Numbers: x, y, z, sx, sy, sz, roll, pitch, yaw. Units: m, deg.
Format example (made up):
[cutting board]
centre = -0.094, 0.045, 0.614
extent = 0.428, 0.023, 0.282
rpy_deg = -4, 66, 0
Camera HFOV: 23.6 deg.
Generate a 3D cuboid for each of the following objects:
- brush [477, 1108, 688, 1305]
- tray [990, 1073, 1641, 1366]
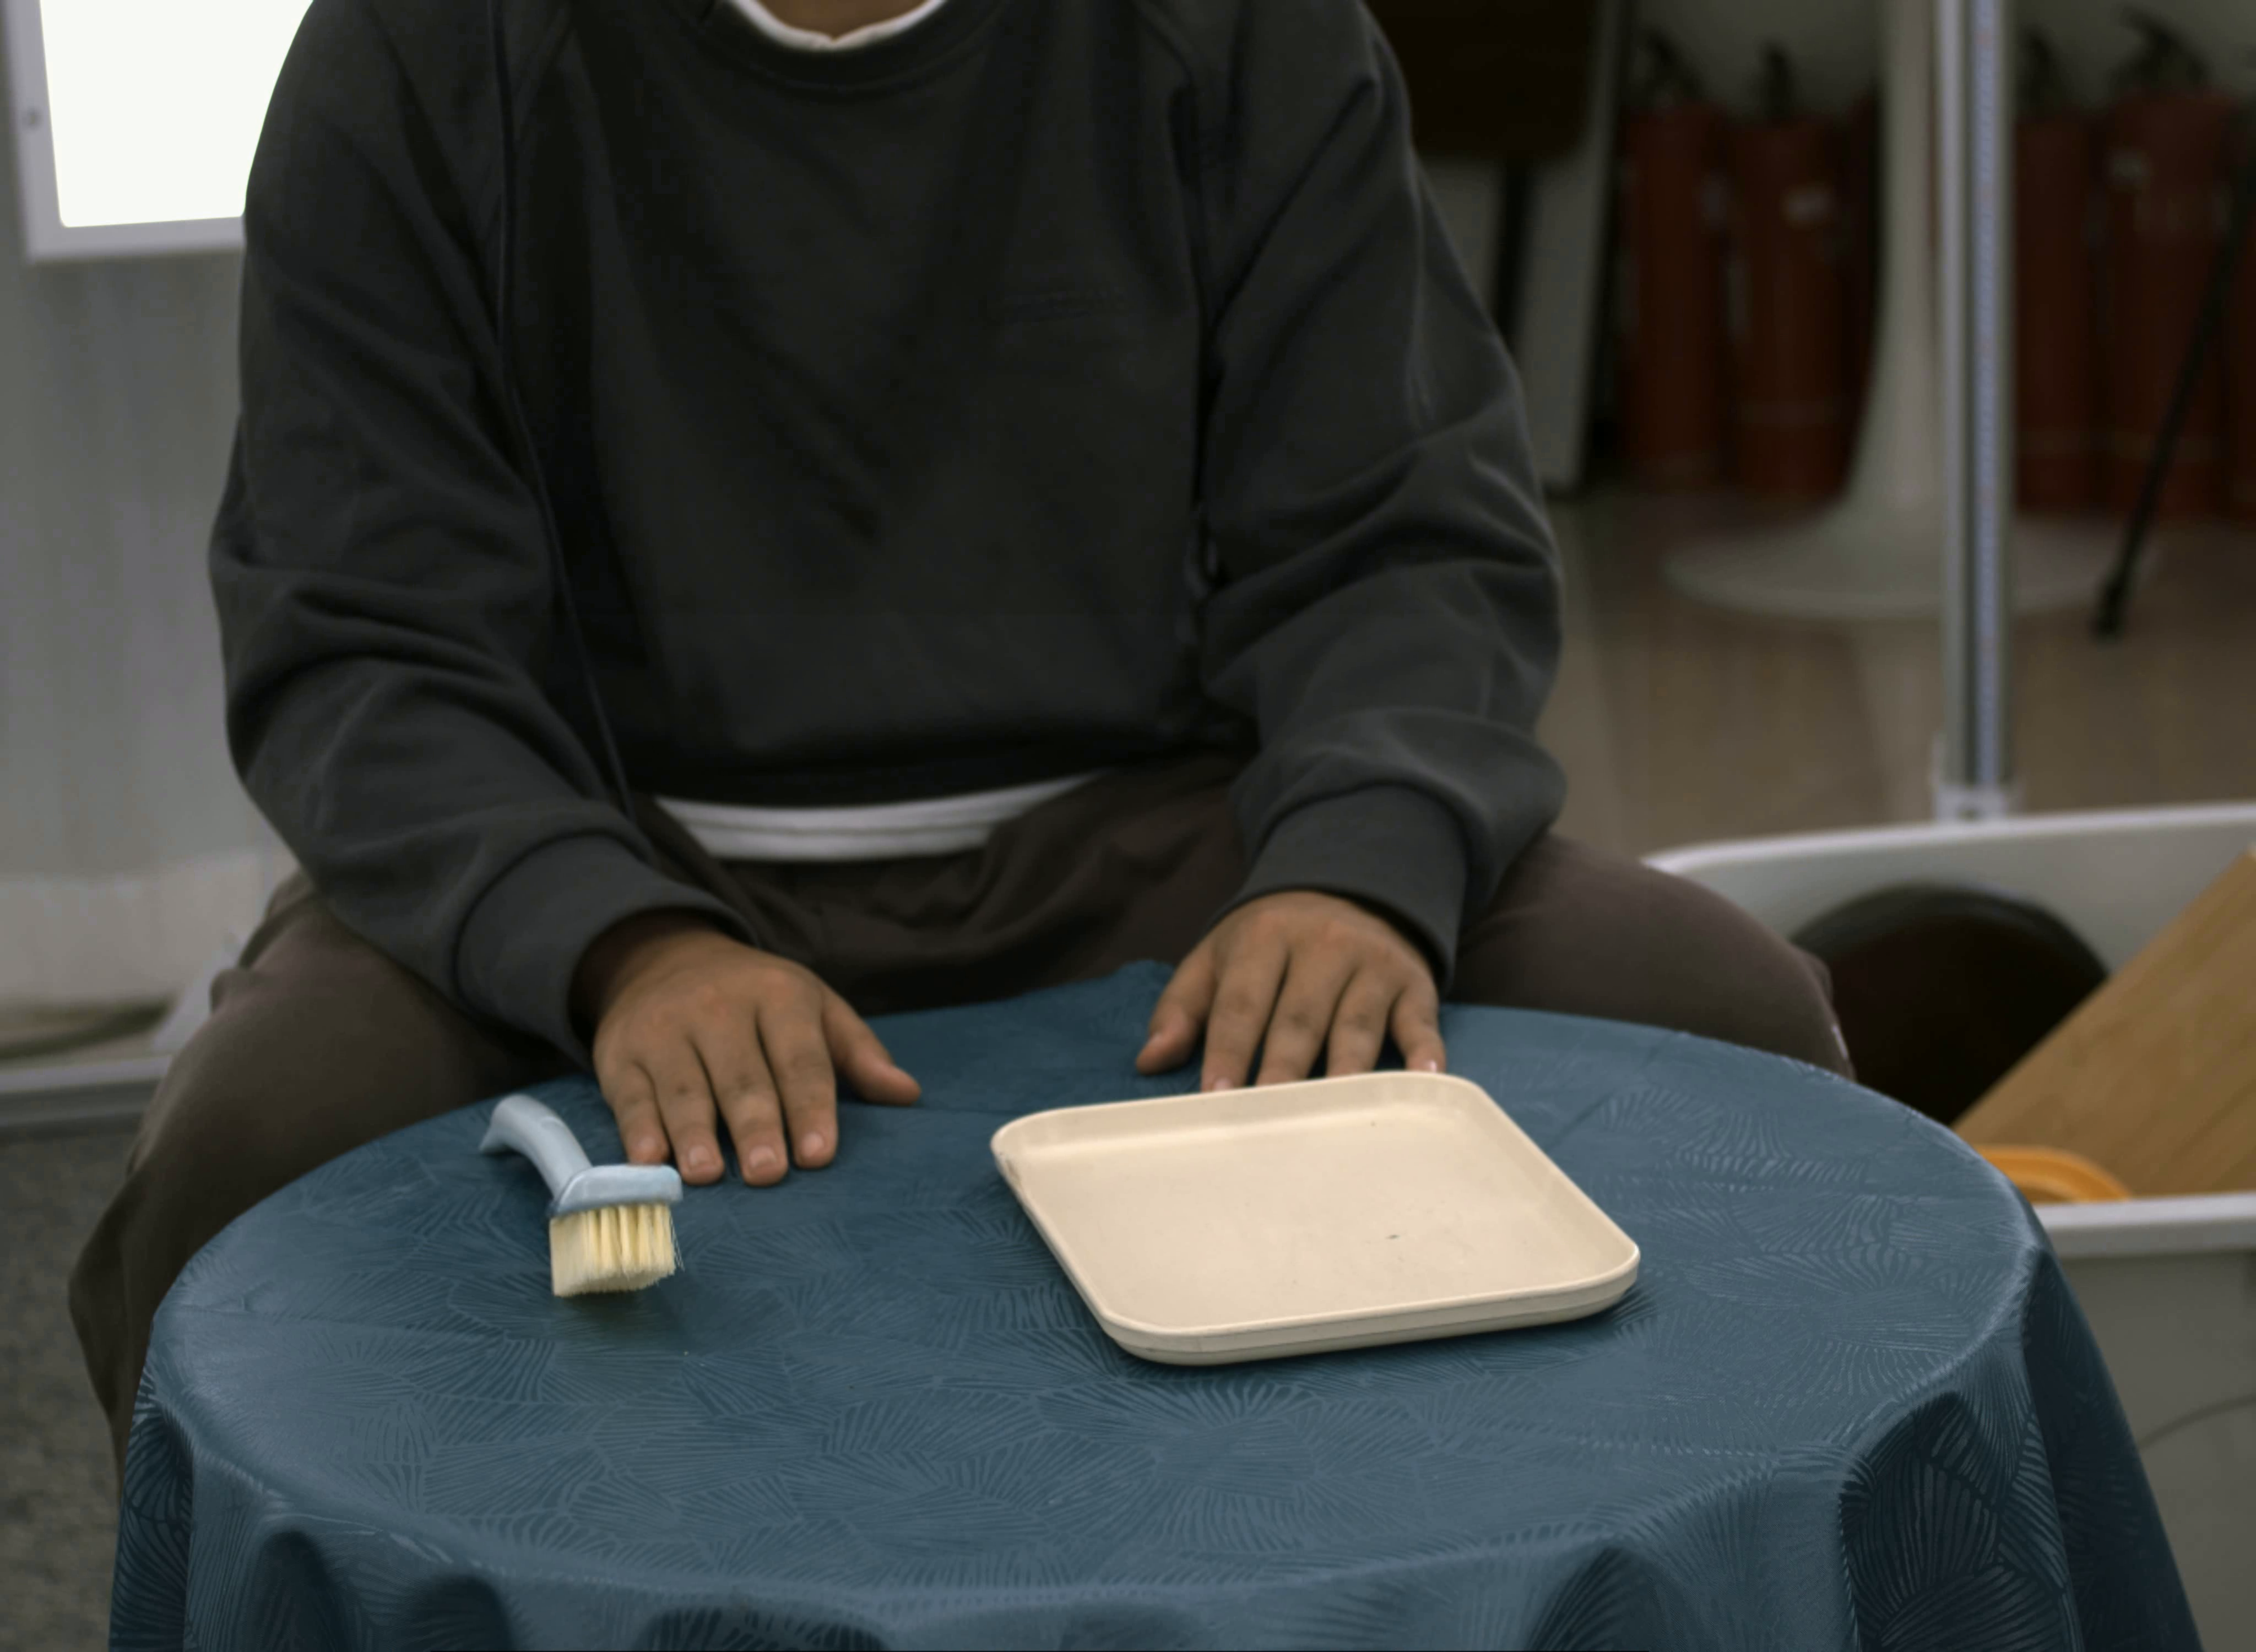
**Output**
[brush]
centre = -0.182, 0.123, 1.752
extent = 0.037, 0.050, 0.230
rpy_deg = -1, 4, -18
[tray]
centre = 0.056, 0.124, 1.710
extent = 0.168, 0.017, 0.241
rpy_deg = -6, 14, -10
